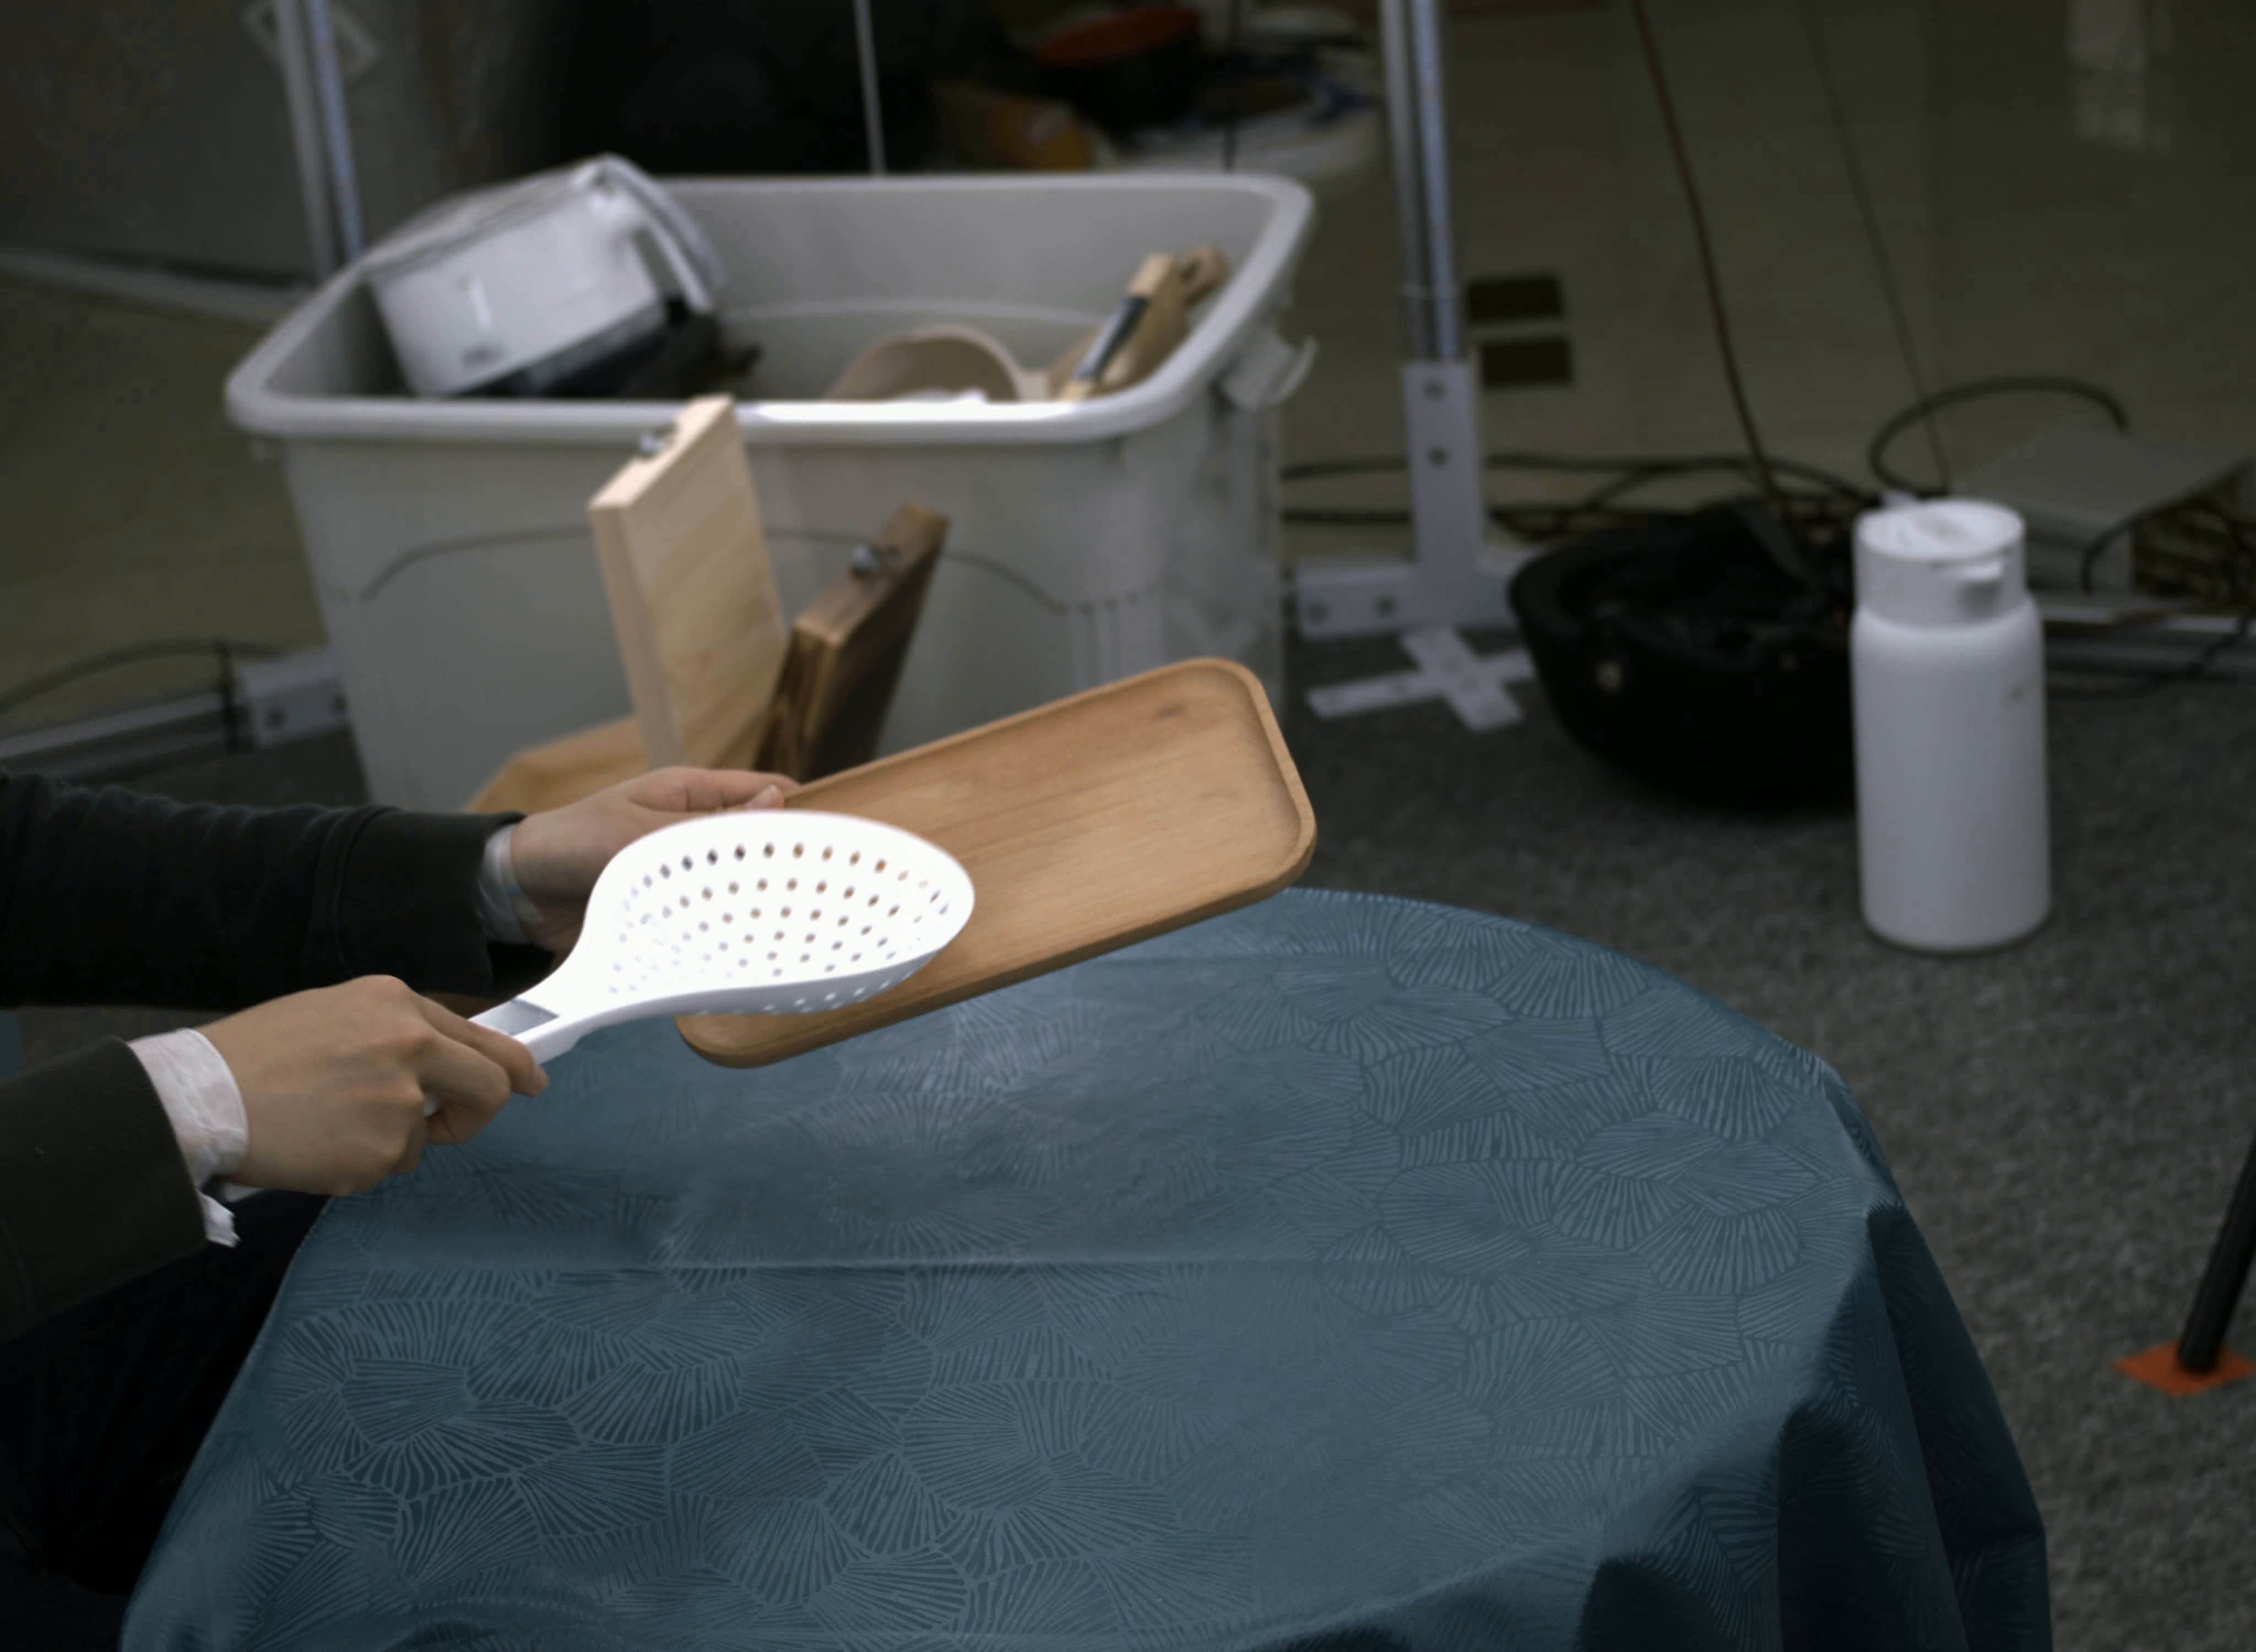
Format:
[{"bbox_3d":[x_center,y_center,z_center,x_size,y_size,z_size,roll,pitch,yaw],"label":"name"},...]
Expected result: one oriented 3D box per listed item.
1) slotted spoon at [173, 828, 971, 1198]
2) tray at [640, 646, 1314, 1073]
[{"bbox_3d":[-0.193,0.064,1.973,0.135,0.046,0.347,19,24,35],"label":"slotted spoon"},{"bbox_3d":[-0.058,0.013,2.133,0.250,0.023,0.128,-19,46,0],"label":"tray"}]
